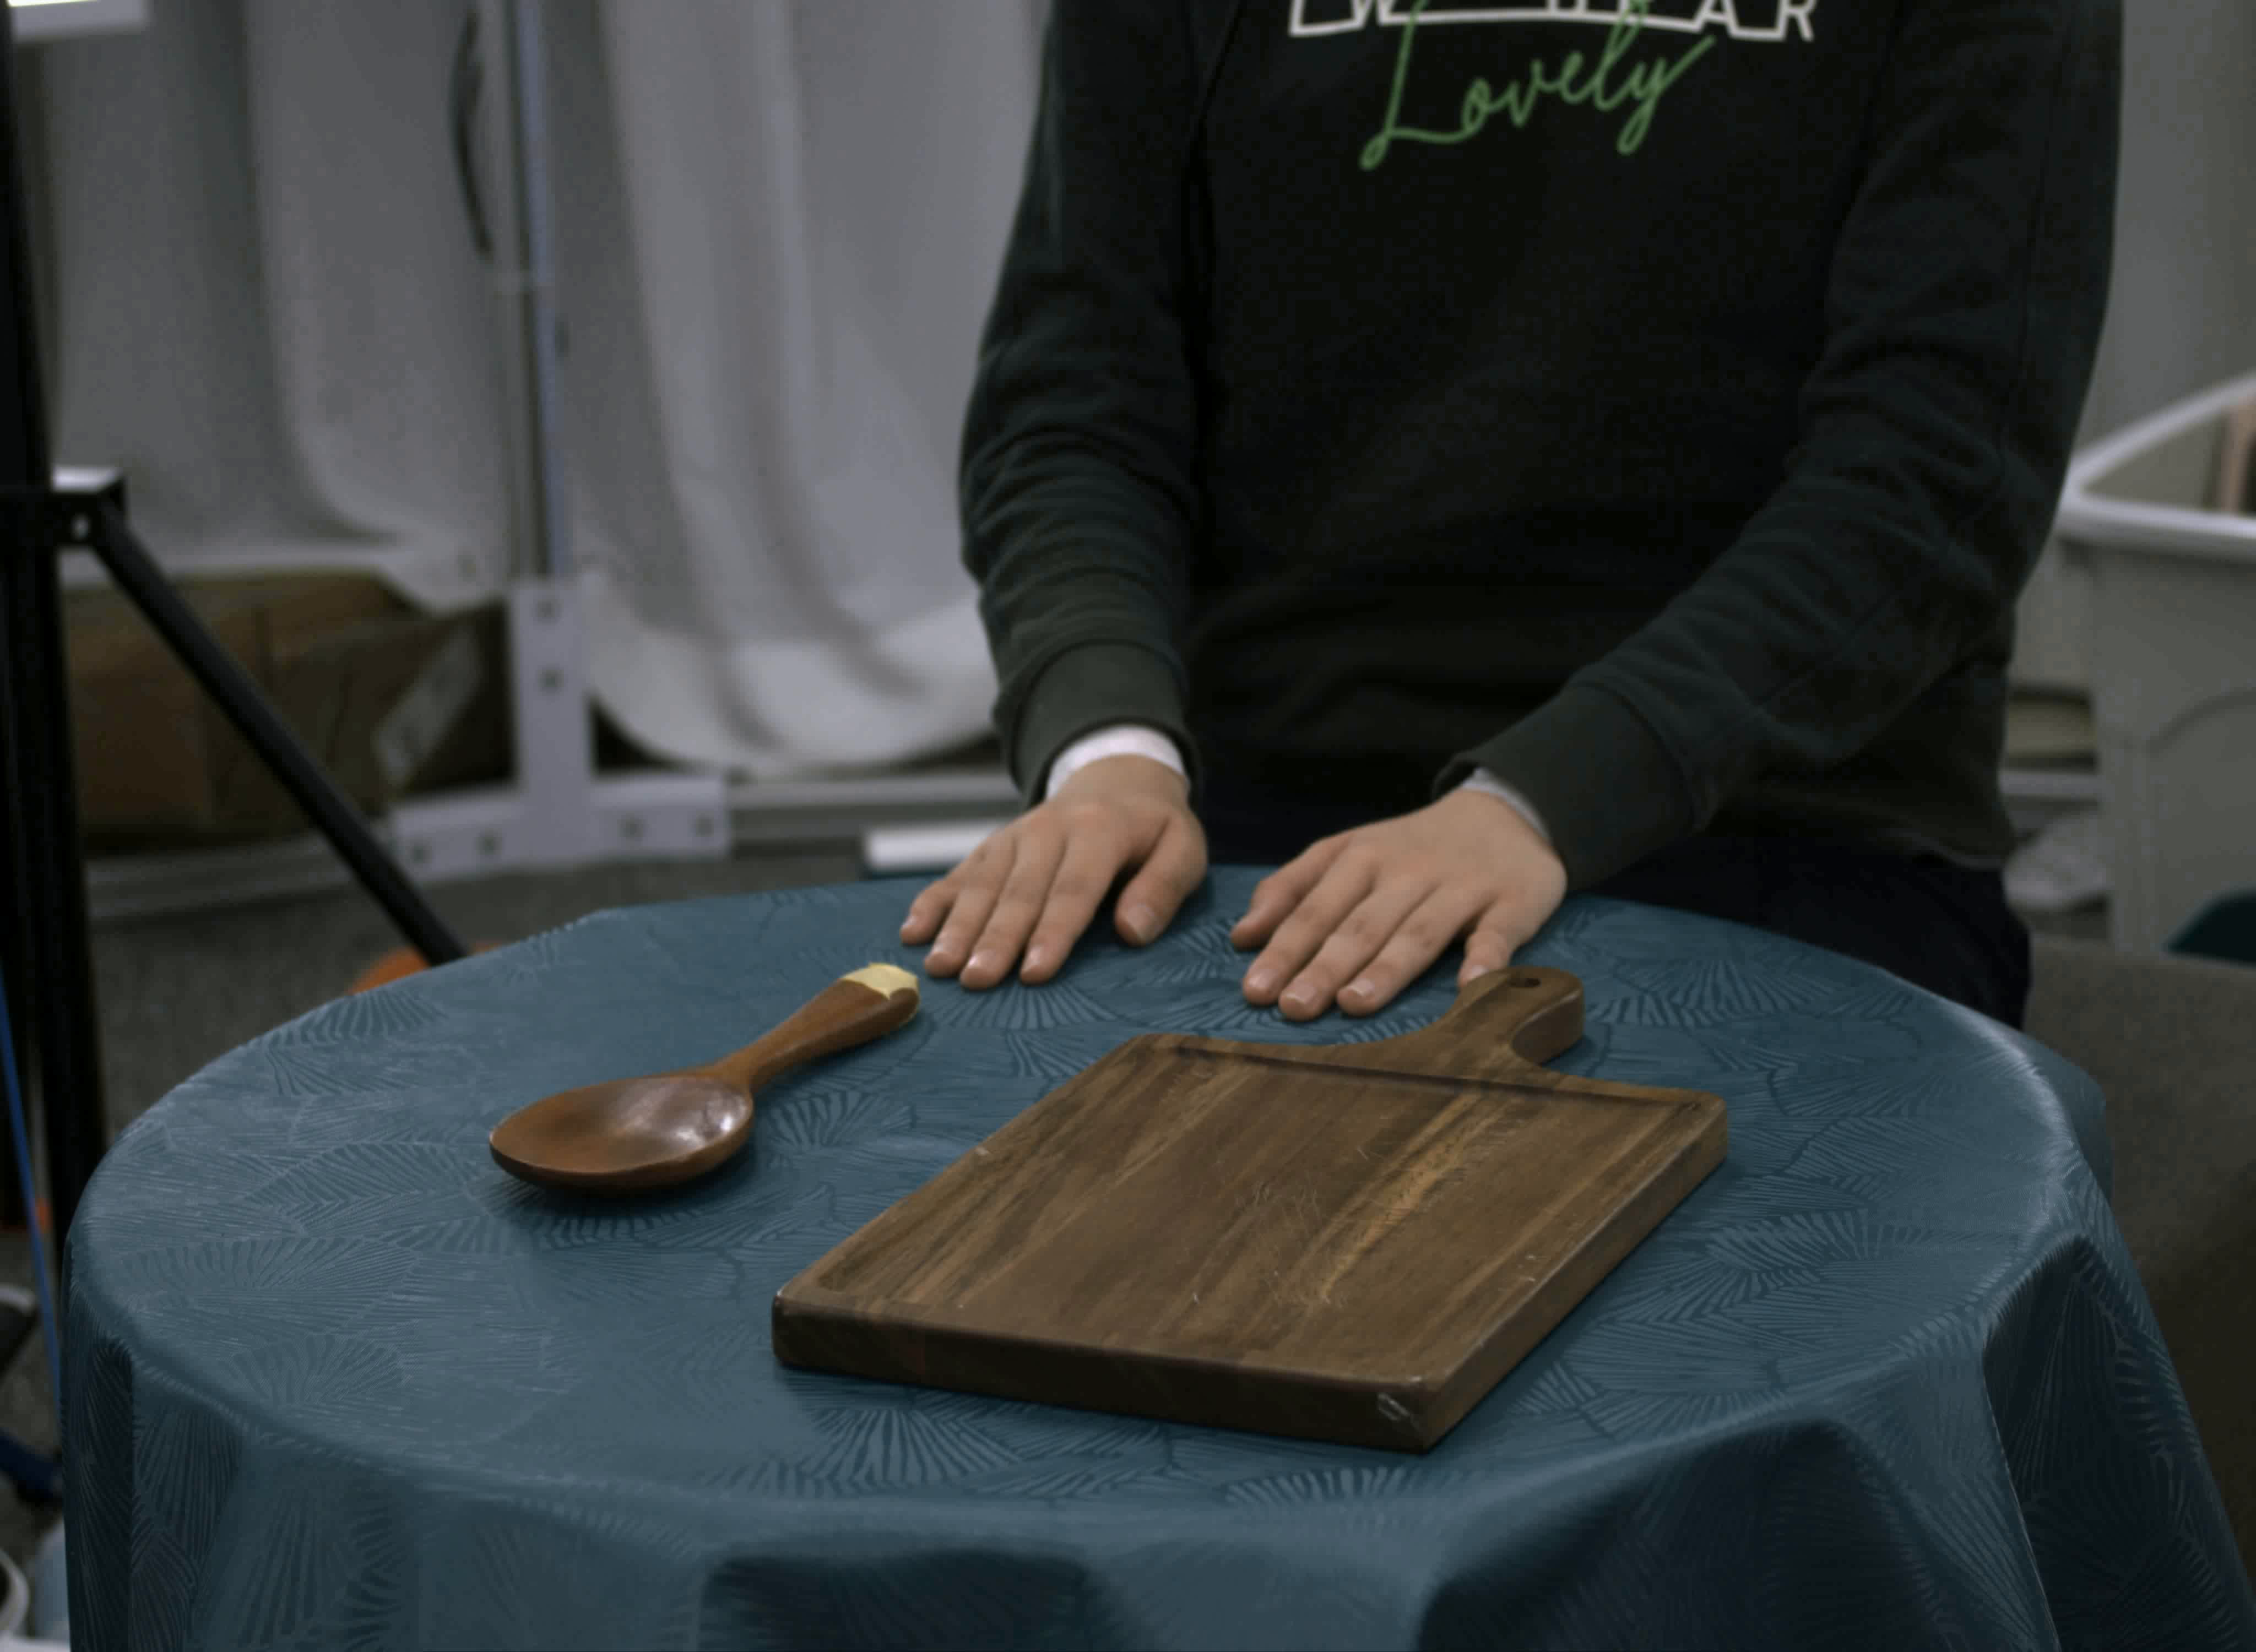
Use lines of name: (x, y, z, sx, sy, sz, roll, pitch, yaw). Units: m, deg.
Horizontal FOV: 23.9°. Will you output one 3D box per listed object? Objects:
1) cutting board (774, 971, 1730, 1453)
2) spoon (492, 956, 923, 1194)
cutting board: (0.061, 0.101, 1.540, 0.204, 0.023, 0.347, 4, 17, 25)
spoon: (-0.121, 0.078, 1.650, 0.077, 0.017, 0.212, 4, 17, 27)
